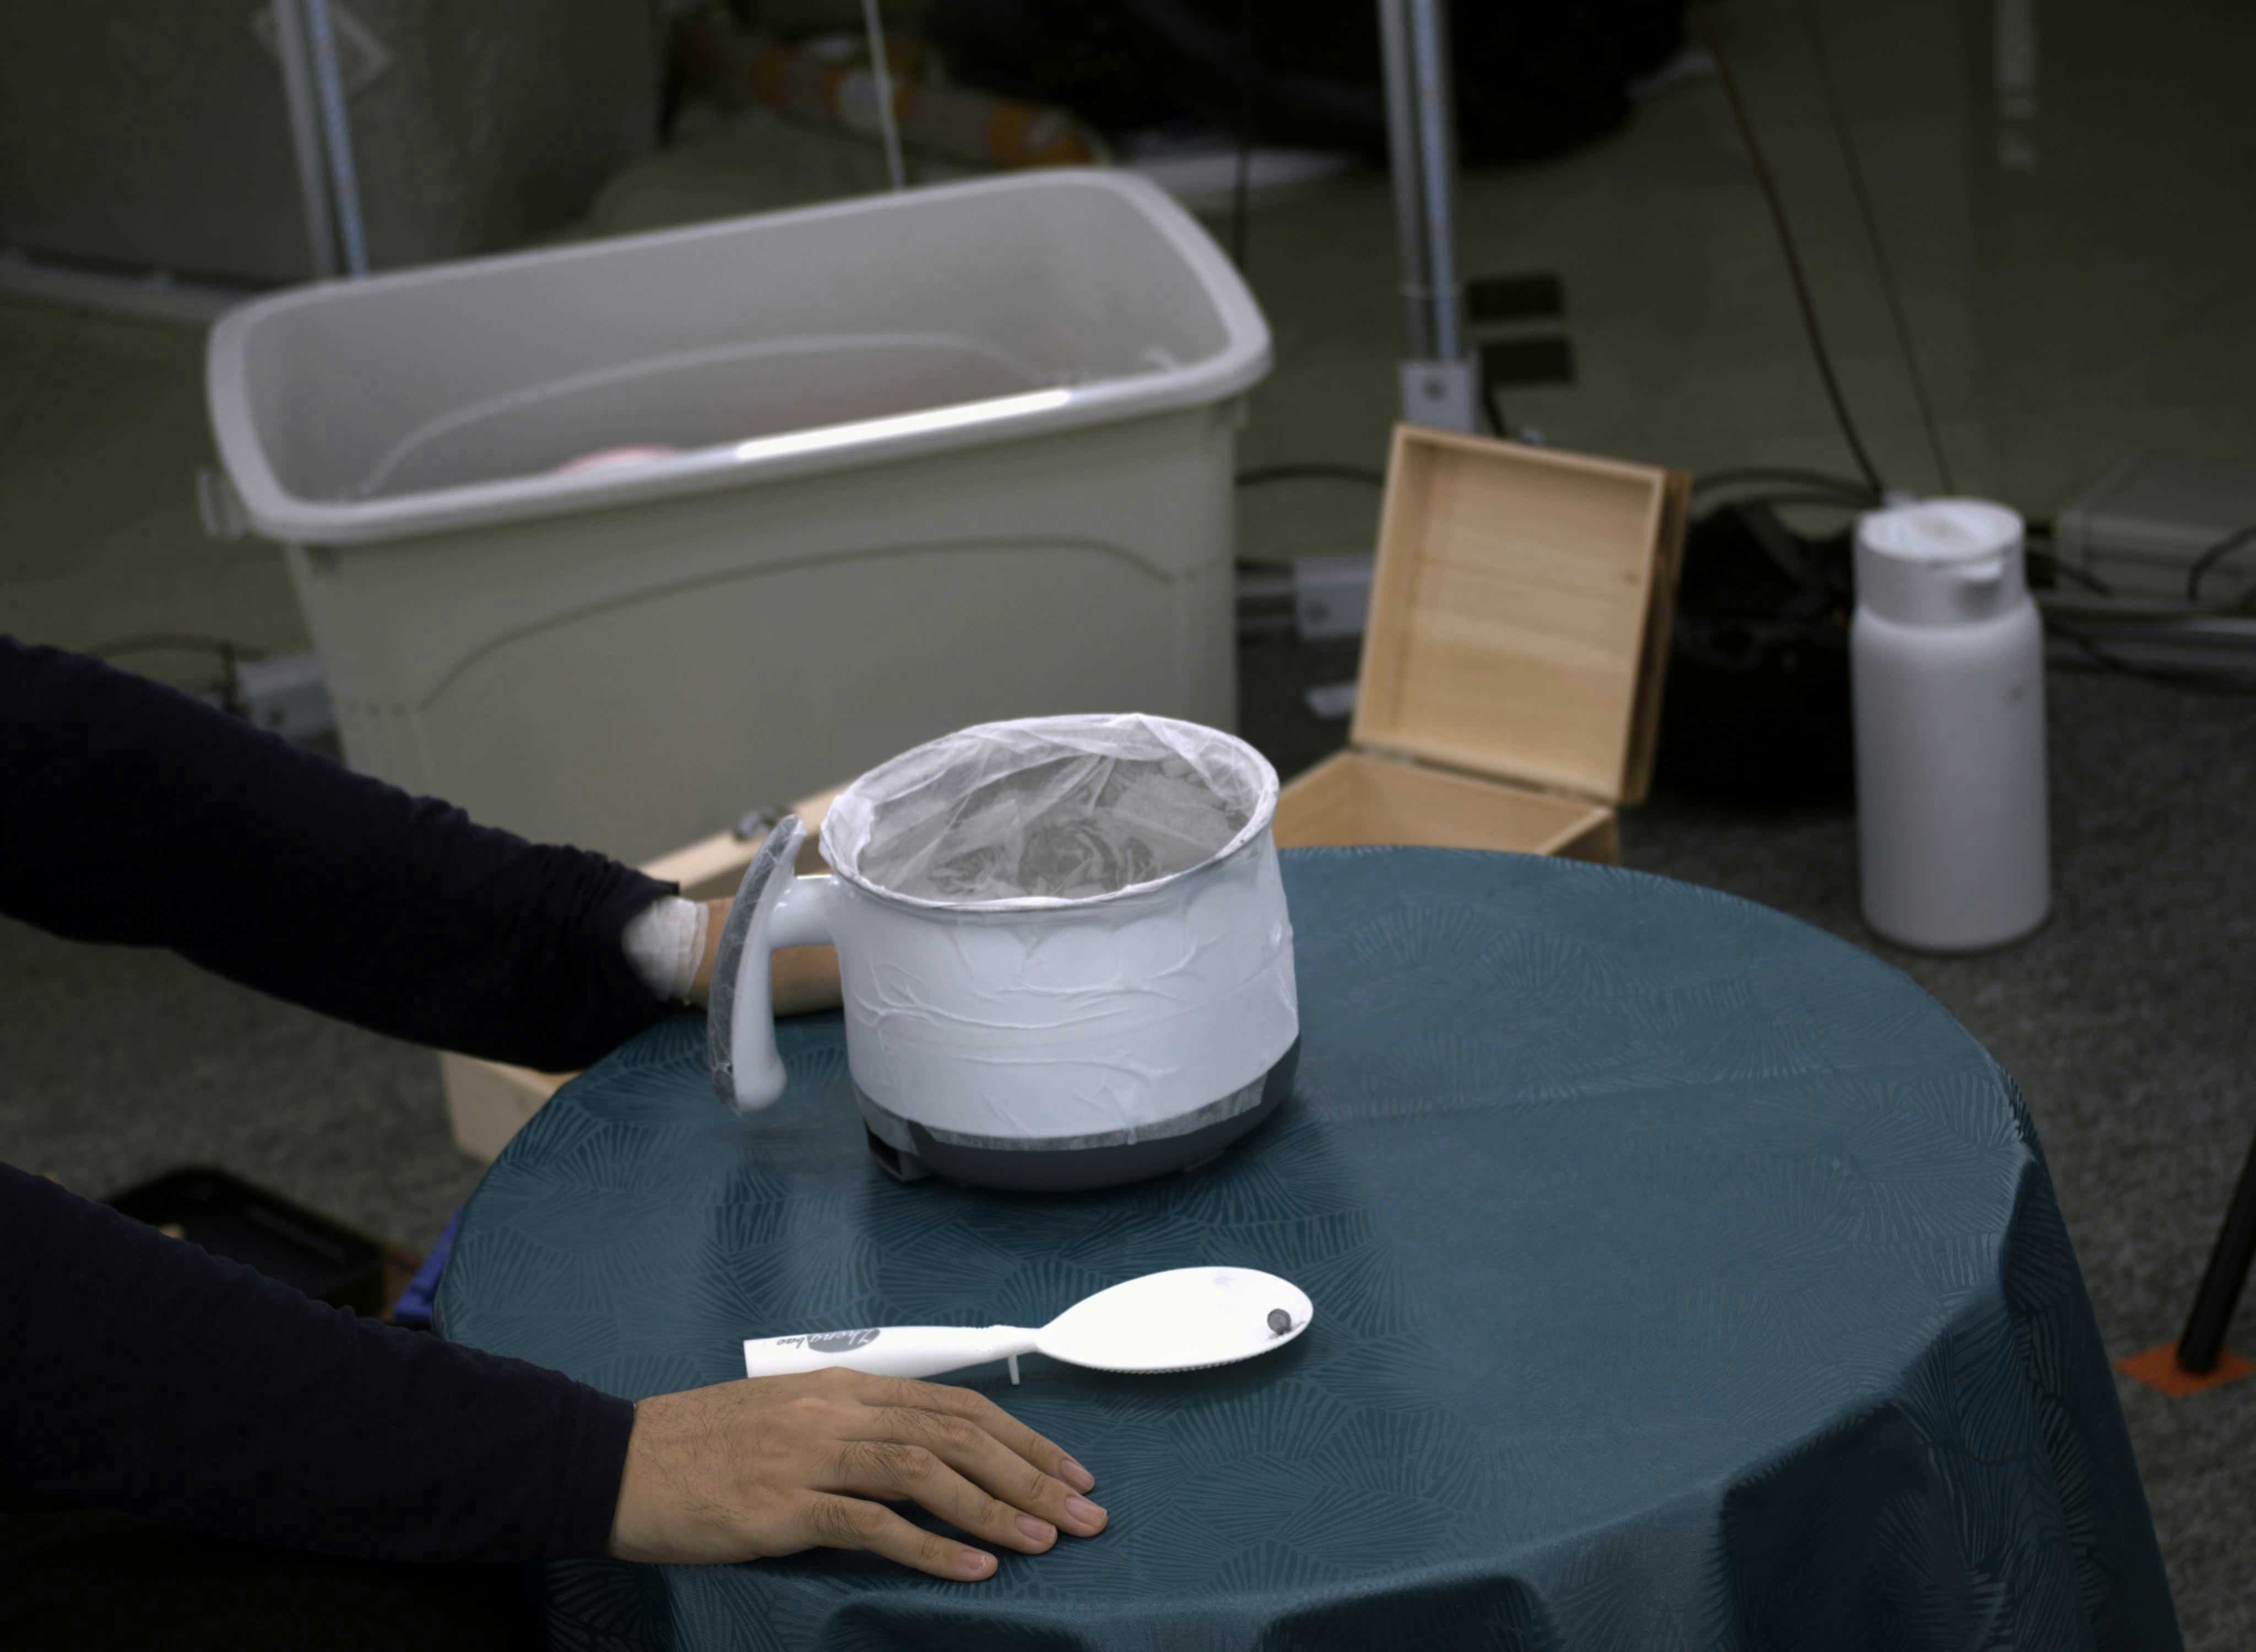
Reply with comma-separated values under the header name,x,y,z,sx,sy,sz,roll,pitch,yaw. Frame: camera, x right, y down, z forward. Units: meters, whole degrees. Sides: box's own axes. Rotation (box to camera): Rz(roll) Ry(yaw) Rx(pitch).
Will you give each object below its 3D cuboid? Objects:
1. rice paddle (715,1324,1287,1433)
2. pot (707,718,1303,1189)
name,x,y,z,sx,sy,sz,roll,pitch,yaw
rice paddle,-0.044,0.194,2.023,0.205,0.030,0.068,-2,19,-6
pot,-0.050,0.053,2.185,0.233,0.138,0.176,-5,23,3
